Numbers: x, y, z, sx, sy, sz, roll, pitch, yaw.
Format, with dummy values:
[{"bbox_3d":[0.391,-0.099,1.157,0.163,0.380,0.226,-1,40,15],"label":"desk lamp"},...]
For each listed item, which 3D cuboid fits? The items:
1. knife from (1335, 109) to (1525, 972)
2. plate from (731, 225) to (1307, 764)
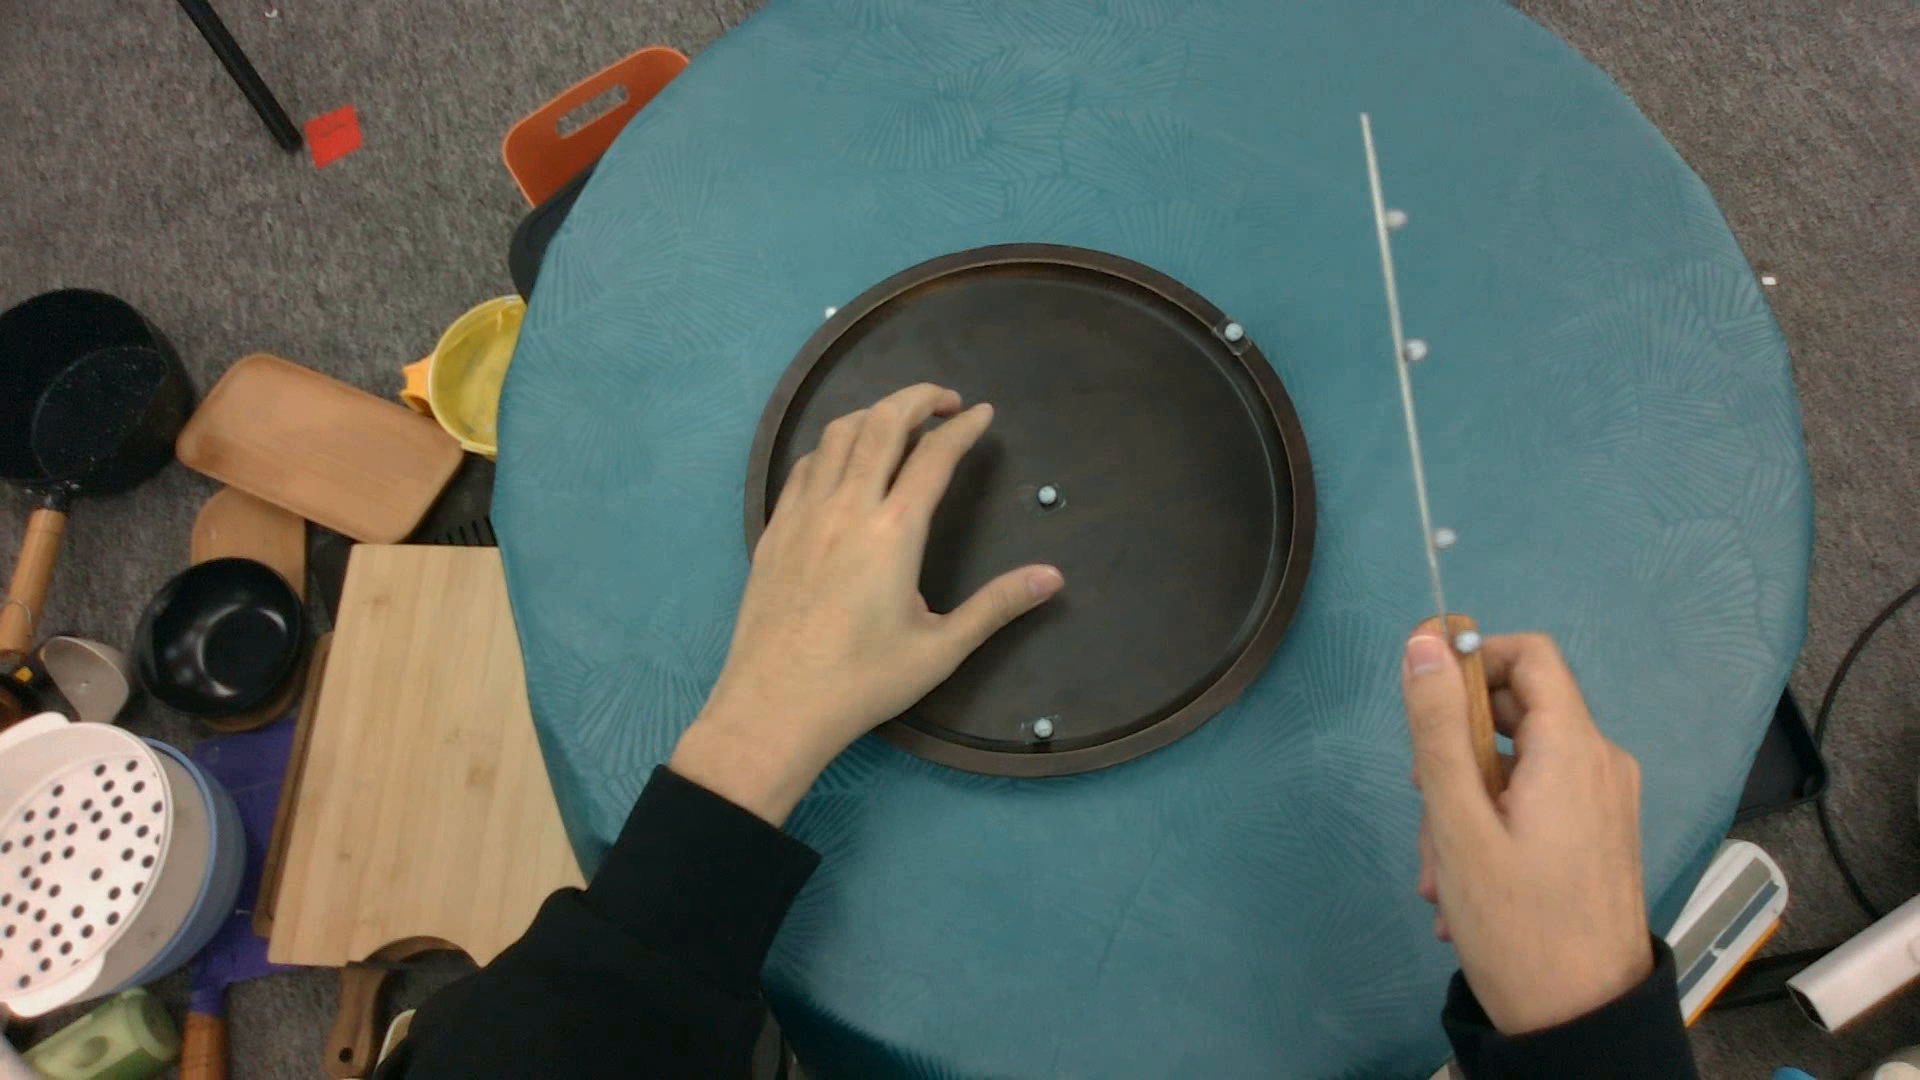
[{"bbox_3d":[0.166,-0.005,0.507,0.021,0.093,0.306,-10,80,17],"label":"knife"},{"bbox_3d":[0.026,-0.025,0.612,0.255,0.029,0.255,0,70,-1],"label":"plate"}]
